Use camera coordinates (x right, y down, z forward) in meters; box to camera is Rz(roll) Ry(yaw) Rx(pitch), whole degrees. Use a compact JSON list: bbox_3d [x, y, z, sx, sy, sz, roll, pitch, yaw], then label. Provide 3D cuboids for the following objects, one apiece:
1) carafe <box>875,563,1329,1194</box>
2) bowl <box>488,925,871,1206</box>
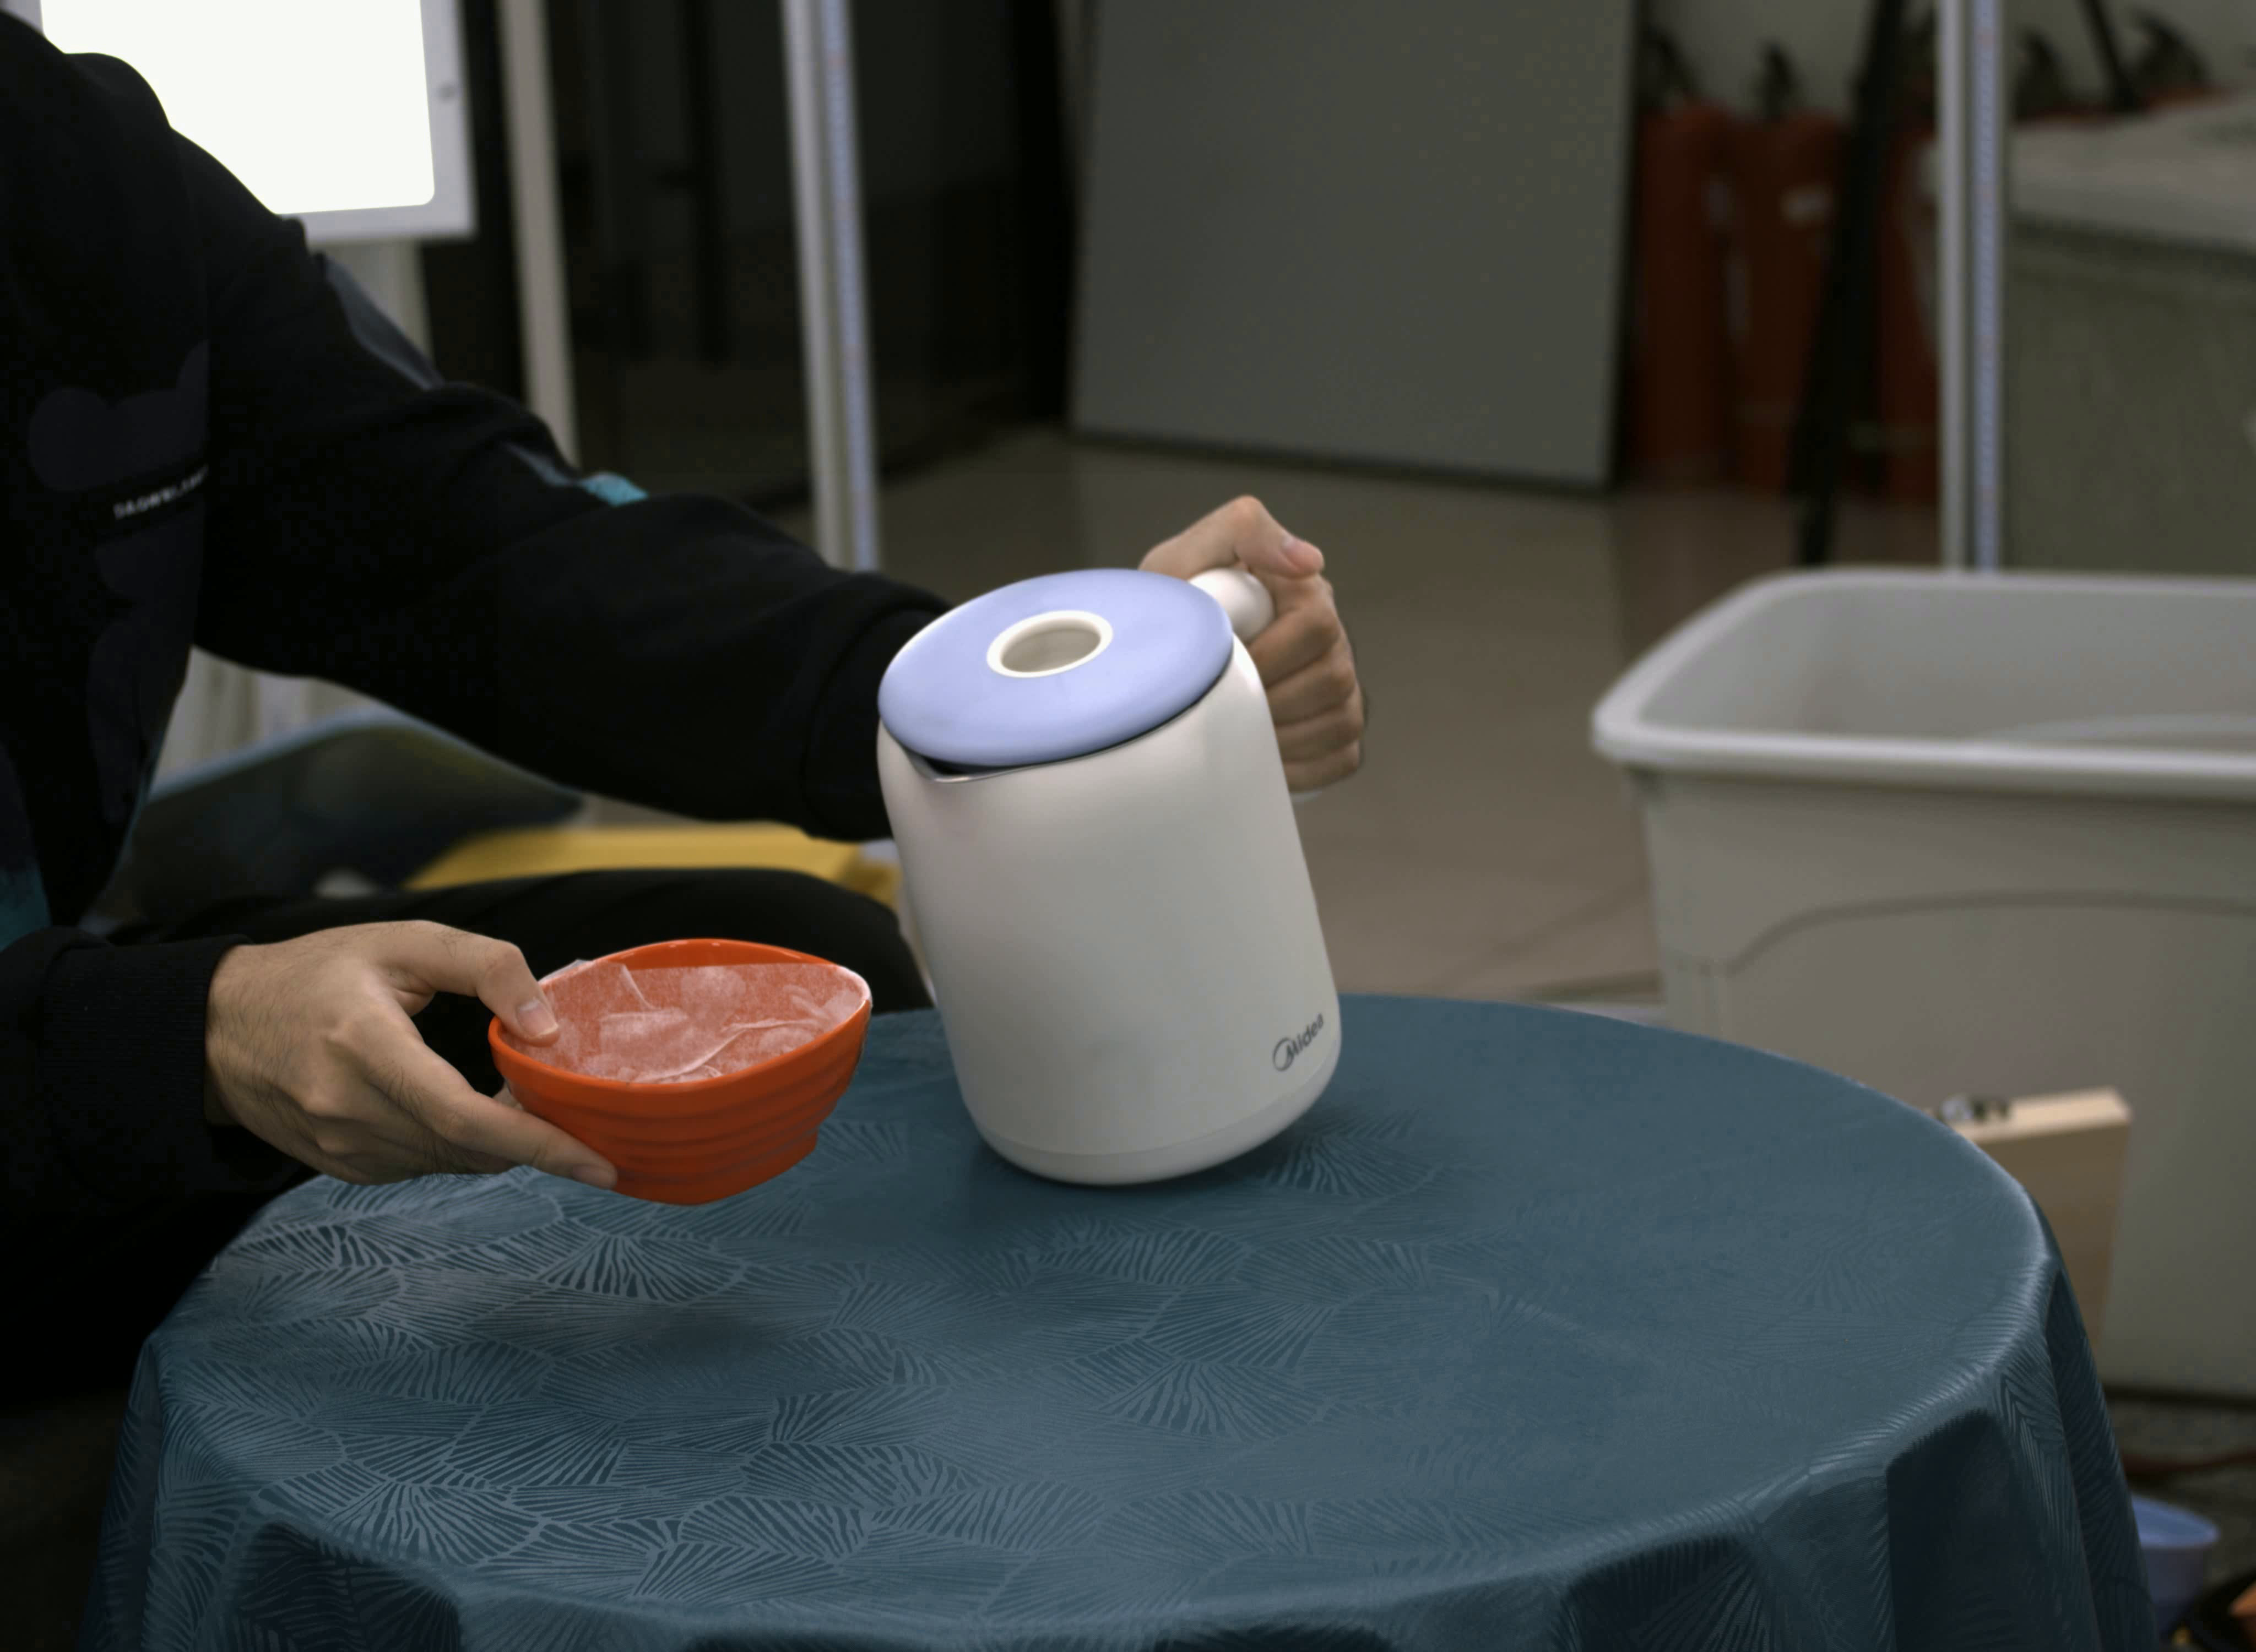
[{"bbox_3d":[0.004,0.005,1.798,0.133,0.183,0.189,8,33,33],"label":"carafe"},{"bbox_3d":[-0.136,0.077,1.662,0.117,0.052,0.119,-4,23,1],"label":"bowl"}]
